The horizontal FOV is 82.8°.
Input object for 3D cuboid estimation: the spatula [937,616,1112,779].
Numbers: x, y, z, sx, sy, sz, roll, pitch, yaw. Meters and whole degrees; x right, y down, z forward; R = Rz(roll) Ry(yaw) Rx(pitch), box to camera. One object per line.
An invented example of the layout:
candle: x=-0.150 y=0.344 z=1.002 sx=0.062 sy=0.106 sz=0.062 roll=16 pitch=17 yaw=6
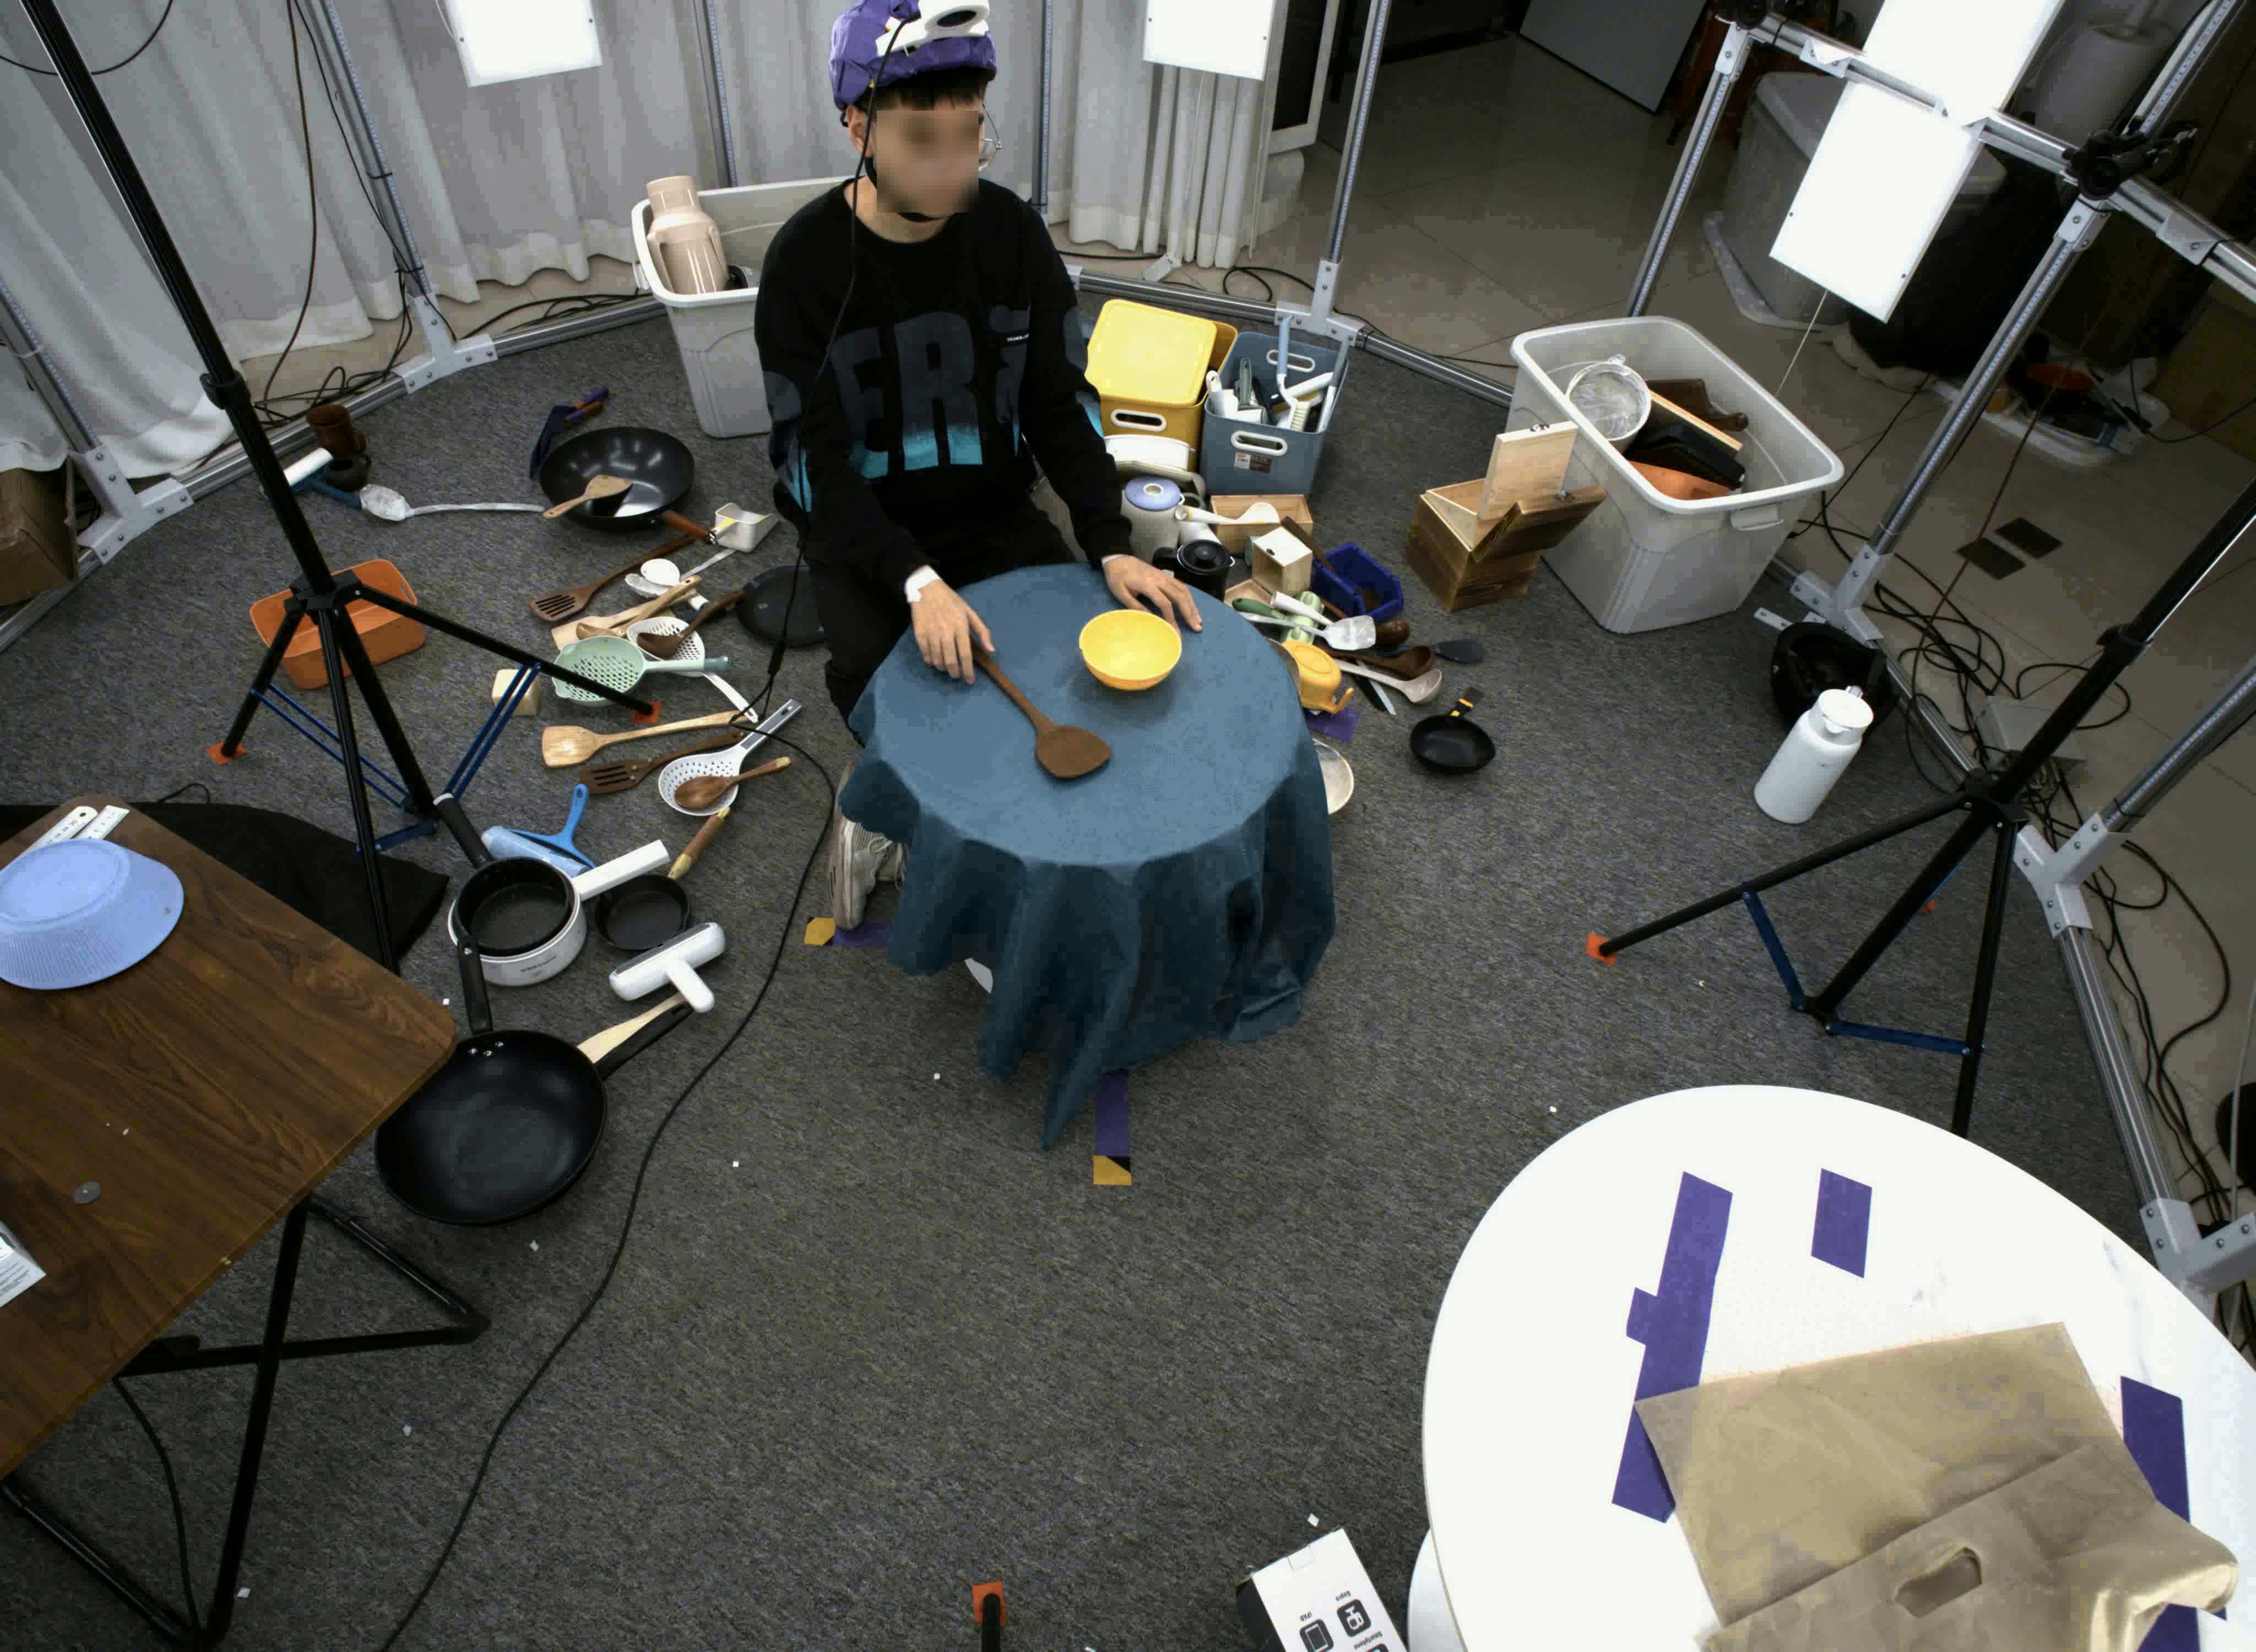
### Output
spatula: x=-0.165 y=-0.194 z=1.833 sx=0.096 sy=0.015 sz=0.393 roll=-27 pitch=55 yaw=-25

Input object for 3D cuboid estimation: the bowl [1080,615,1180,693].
bowl: x=0.001 y=-0.237 z=1.857 sx=0.145 sy=0.058 sz=0.149 roll=3 pitch=47 yaw=-4
